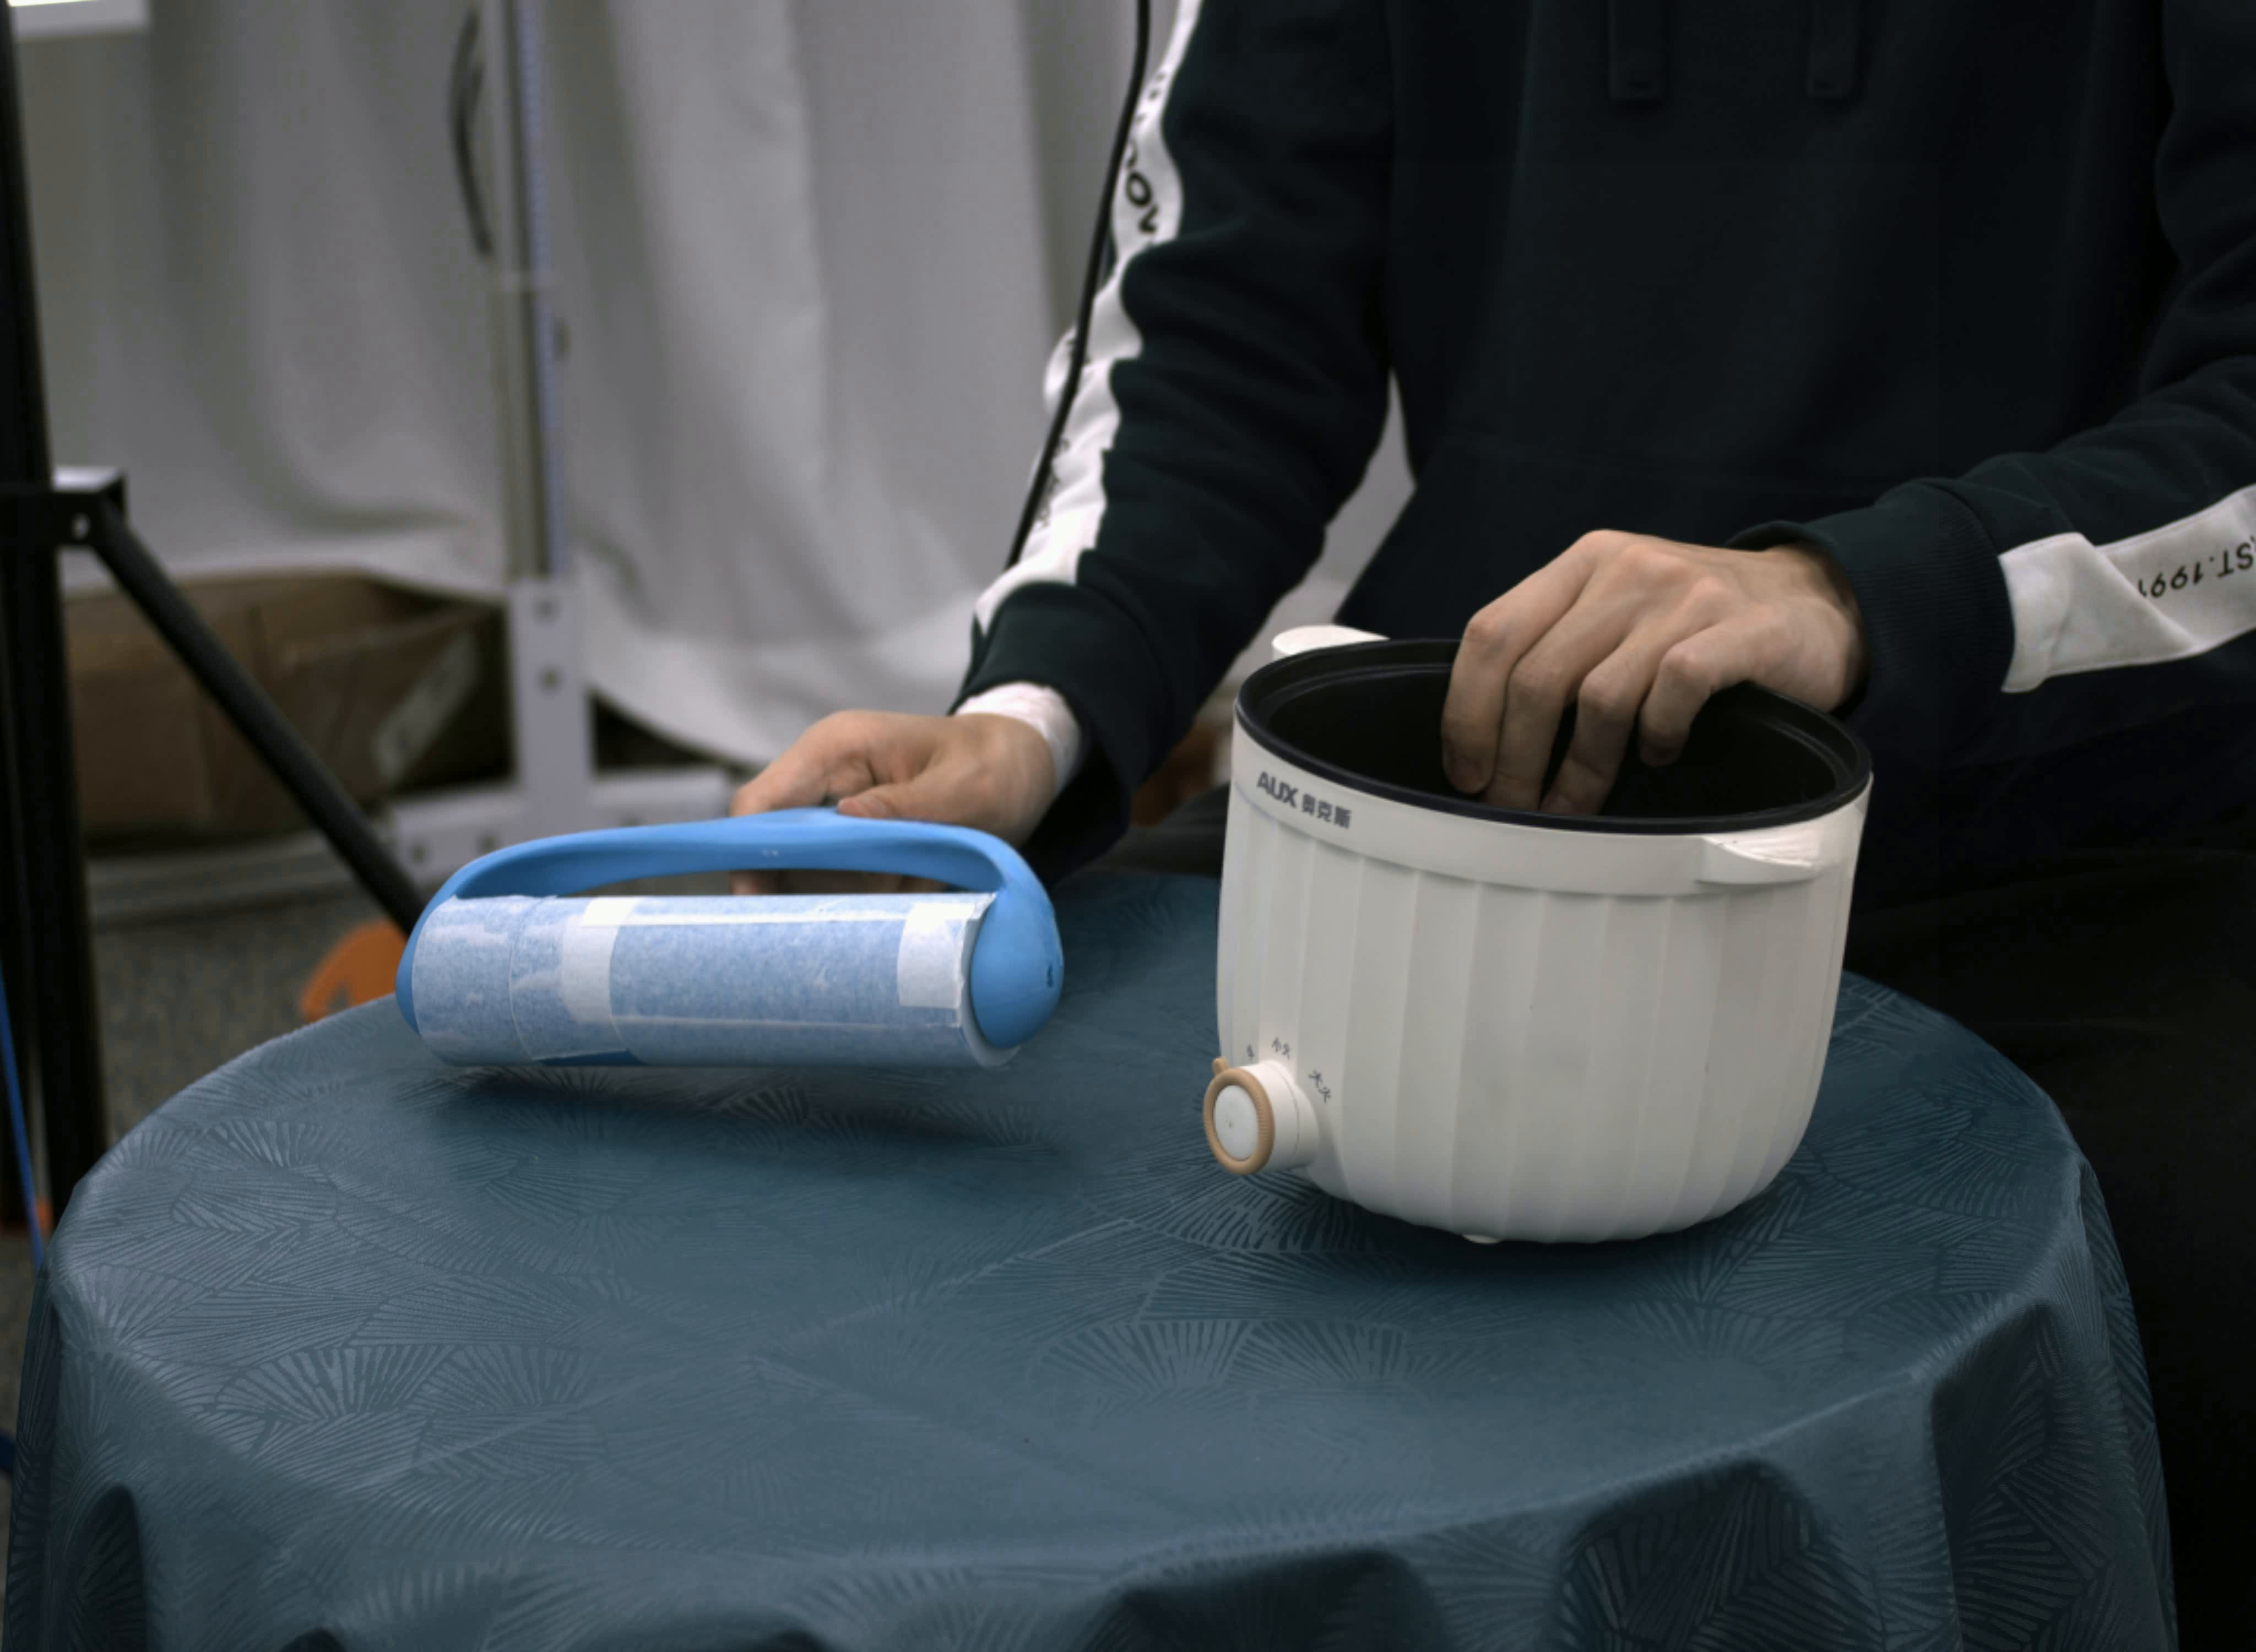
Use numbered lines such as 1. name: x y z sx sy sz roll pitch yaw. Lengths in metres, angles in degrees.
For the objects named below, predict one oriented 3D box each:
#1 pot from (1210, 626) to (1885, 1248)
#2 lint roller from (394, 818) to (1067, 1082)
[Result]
1. pot: 0.112 0.036 1.511 0.186 0.143 0.246 -3 17 -36
2. lint roller: -0.105 0.028 1.692 0.232 0.068 0.178 -5 19 24
